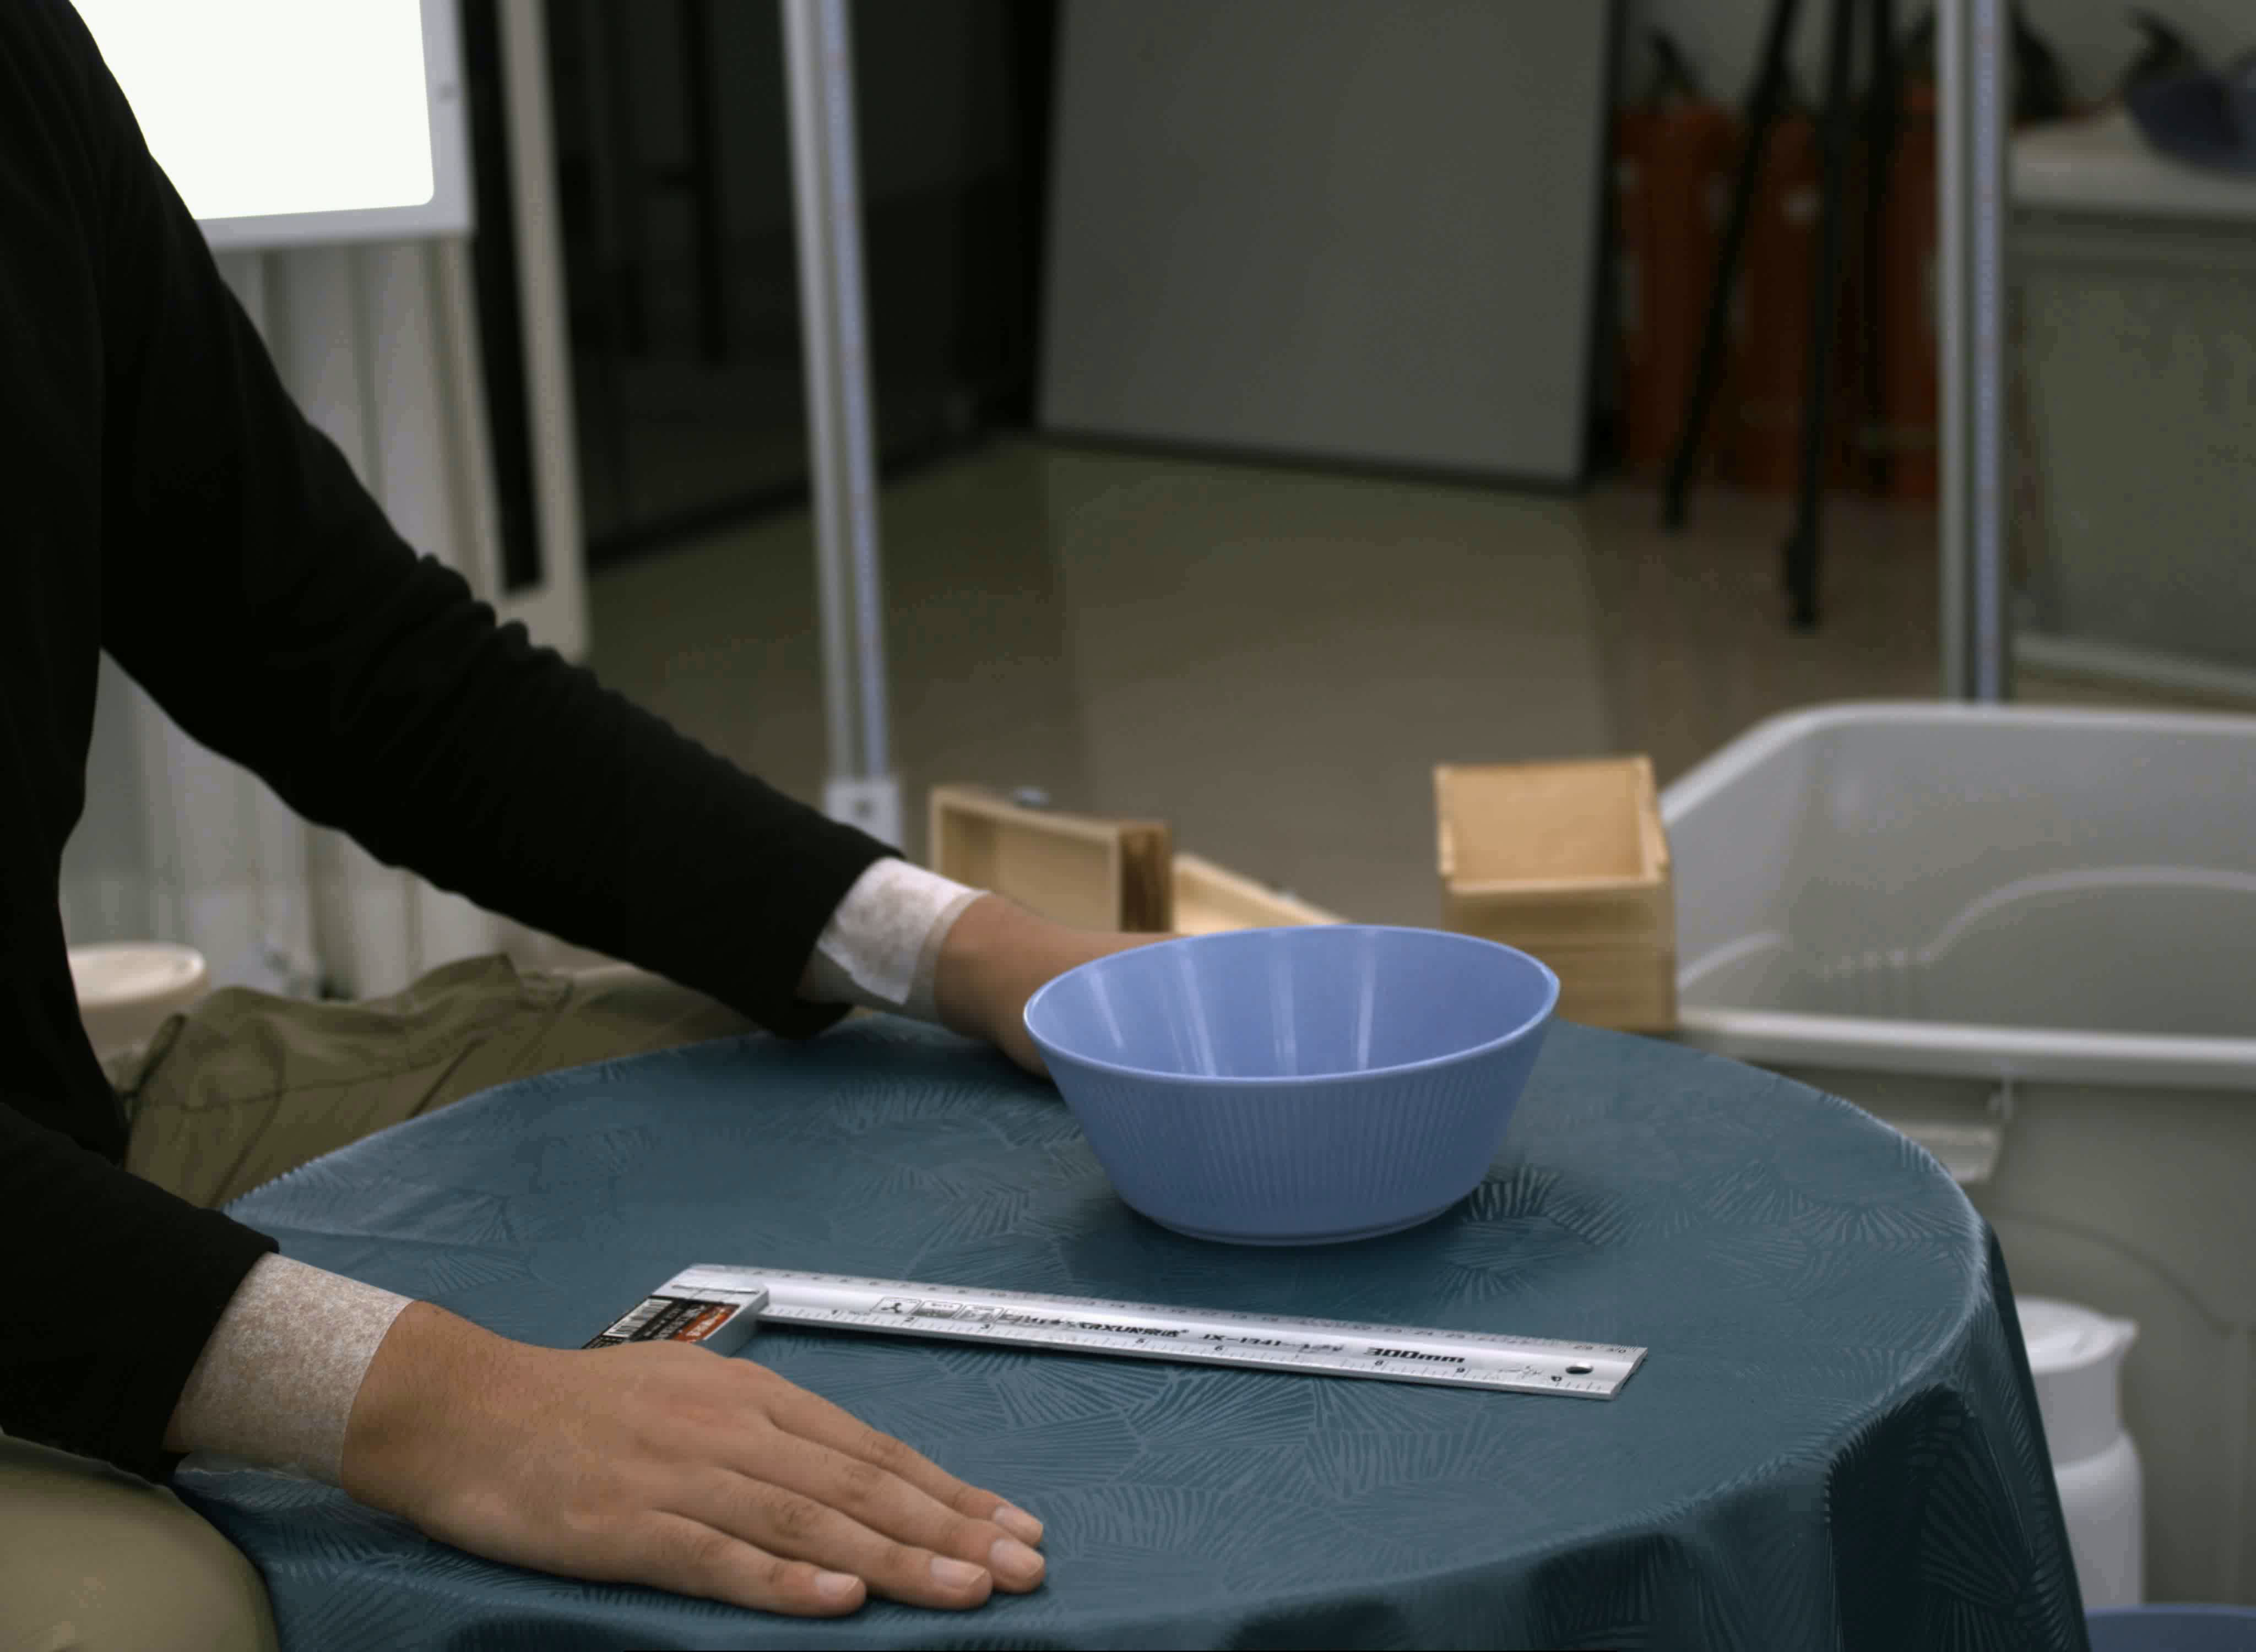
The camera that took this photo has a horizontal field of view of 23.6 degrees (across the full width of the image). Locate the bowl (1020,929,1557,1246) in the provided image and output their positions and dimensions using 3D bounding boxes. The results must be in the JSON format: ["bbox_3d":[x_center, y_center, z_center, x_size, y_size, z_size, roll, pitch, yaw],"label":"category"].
[{"bbox_3d":[0.053,0.087,1.747,0.174,0.071,0.176,-4,14,0],"label":"bowl"}]

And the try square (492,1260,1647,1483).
[{"bbox_3d":[-0.017,0.168,1.580,0.313,0.016,0.151,3,18,22],"label":"try square"}]
